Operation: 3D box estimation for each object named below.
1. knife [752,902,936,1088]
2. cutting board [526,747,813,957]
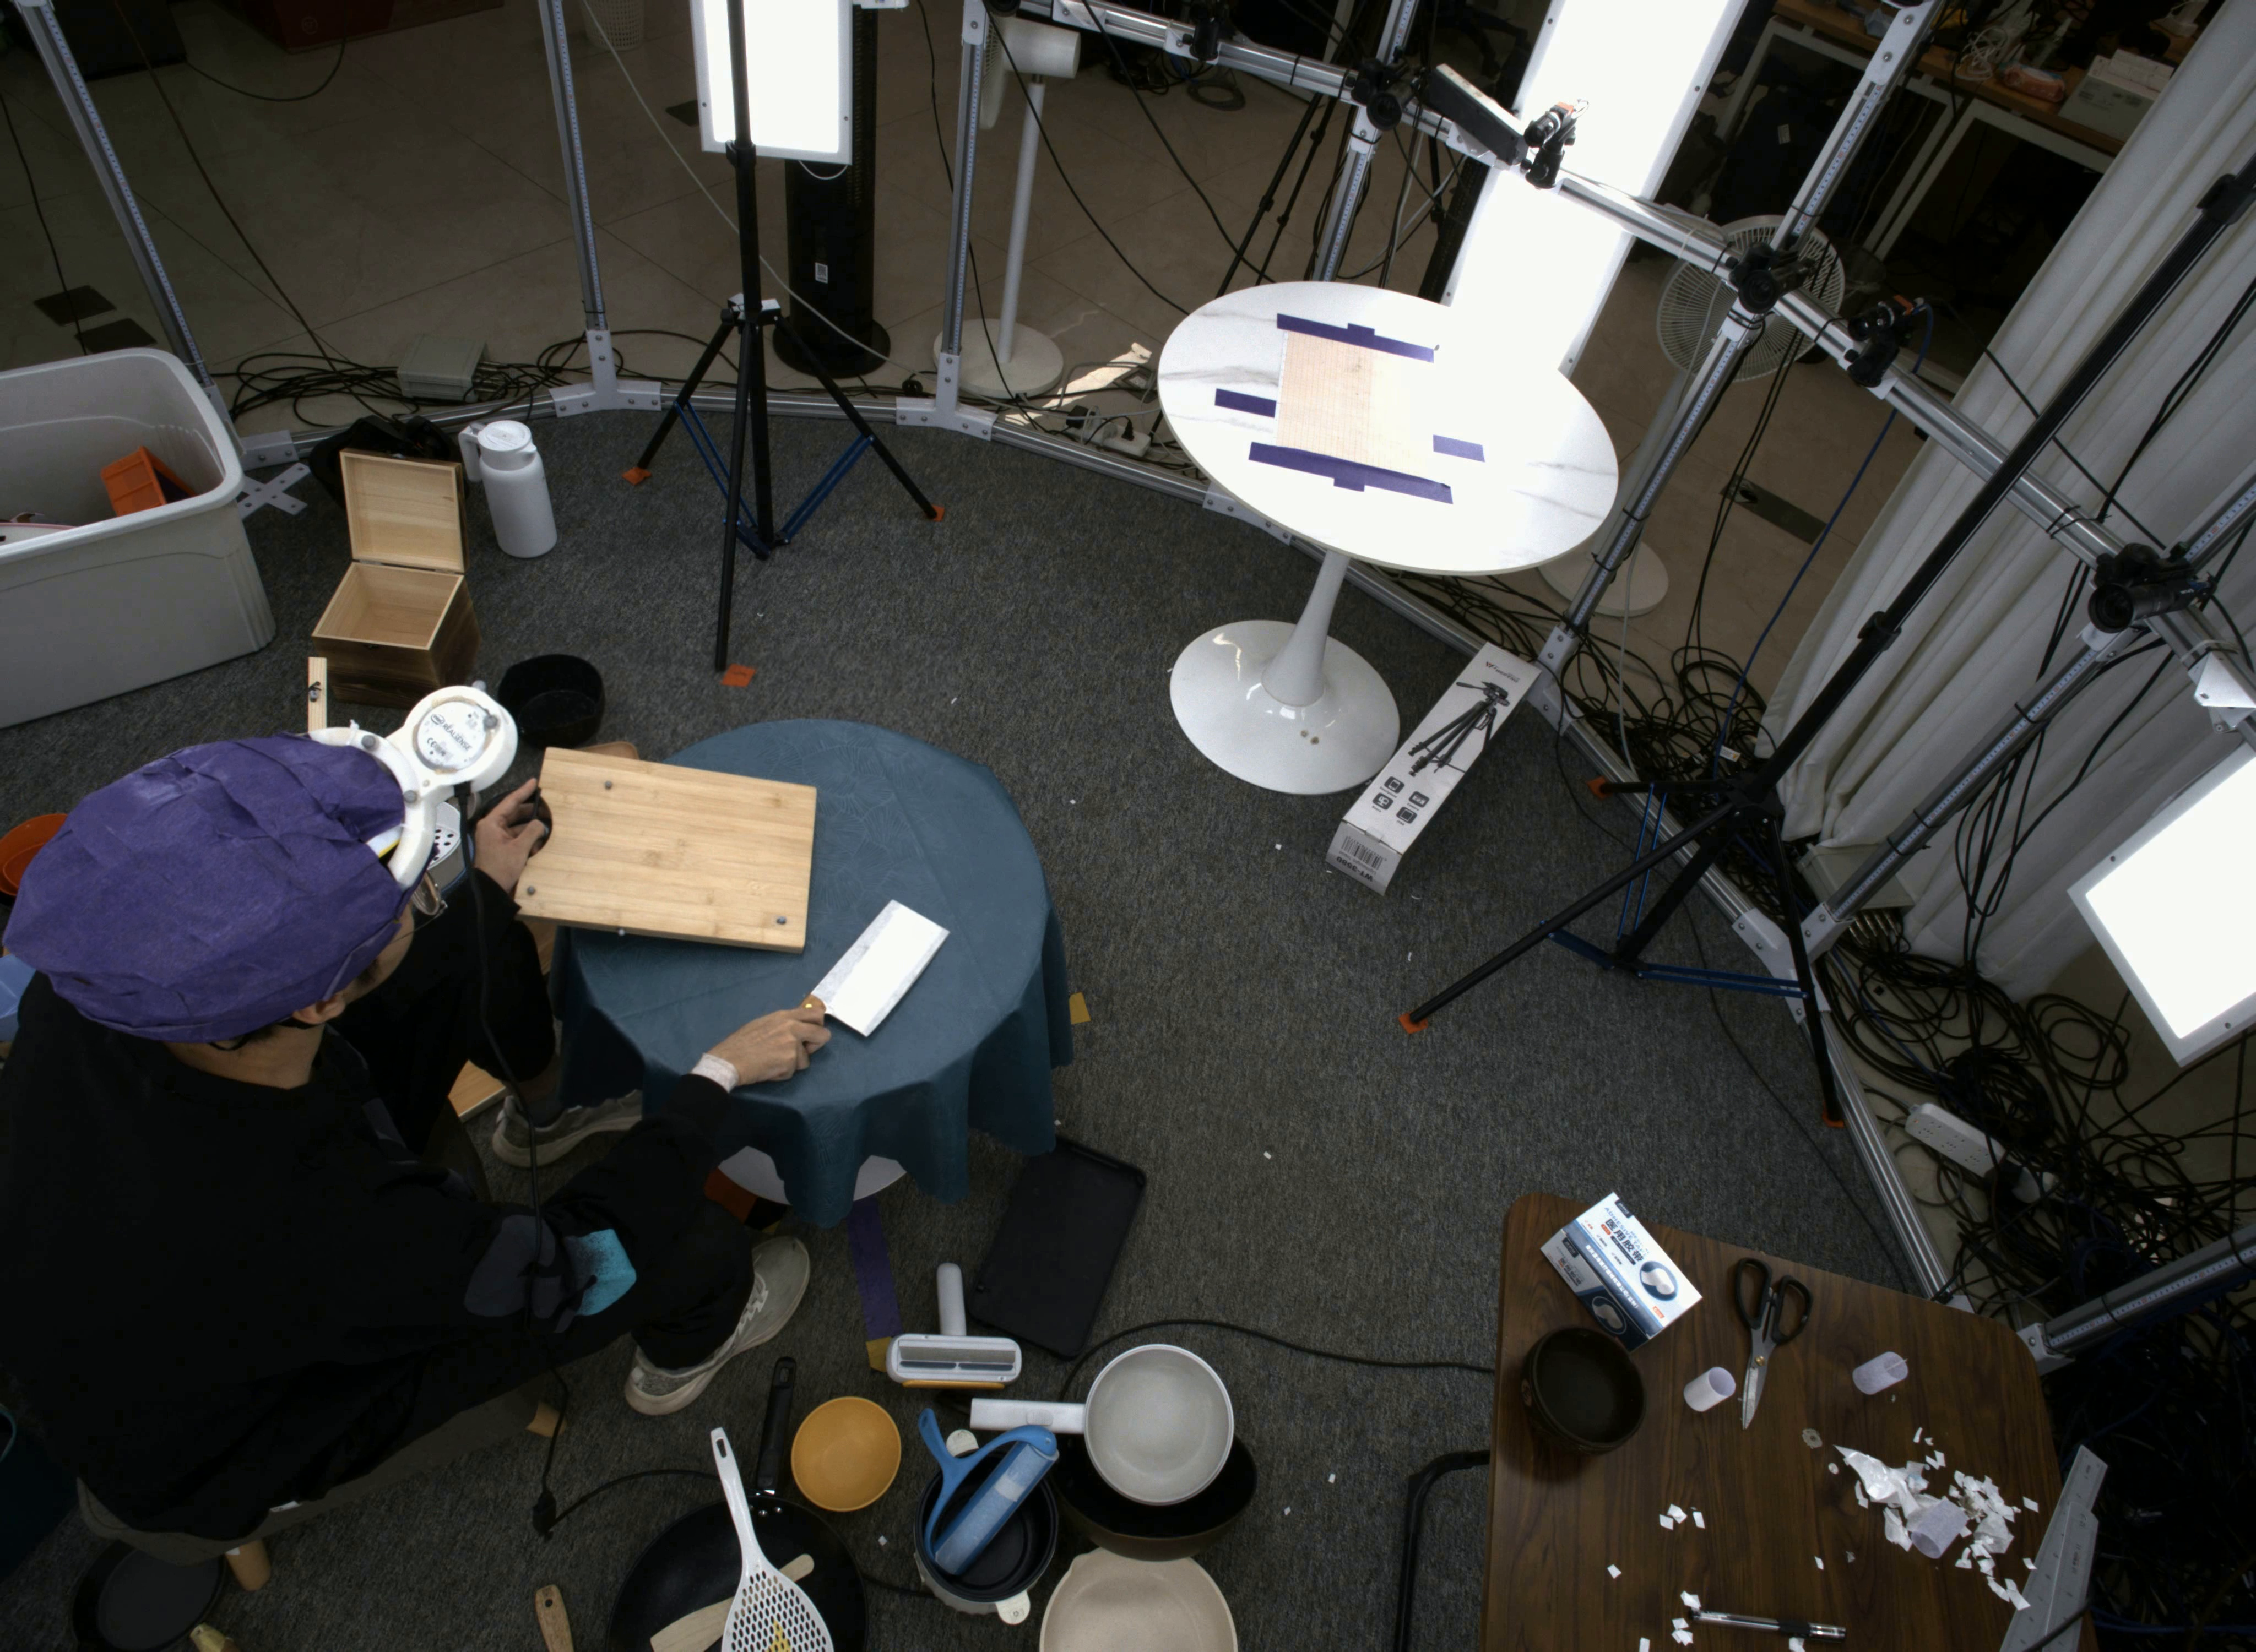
[{"bbox_3d":[-0.332,0.206,1.569,0.092,0.021,0.304,30,48,6],"label":"knife"},{"bbox_3d":[-0.570,0.028,1.588,0.352,0.024,0.246,9,57,-22],"label":"cutting board"}]
